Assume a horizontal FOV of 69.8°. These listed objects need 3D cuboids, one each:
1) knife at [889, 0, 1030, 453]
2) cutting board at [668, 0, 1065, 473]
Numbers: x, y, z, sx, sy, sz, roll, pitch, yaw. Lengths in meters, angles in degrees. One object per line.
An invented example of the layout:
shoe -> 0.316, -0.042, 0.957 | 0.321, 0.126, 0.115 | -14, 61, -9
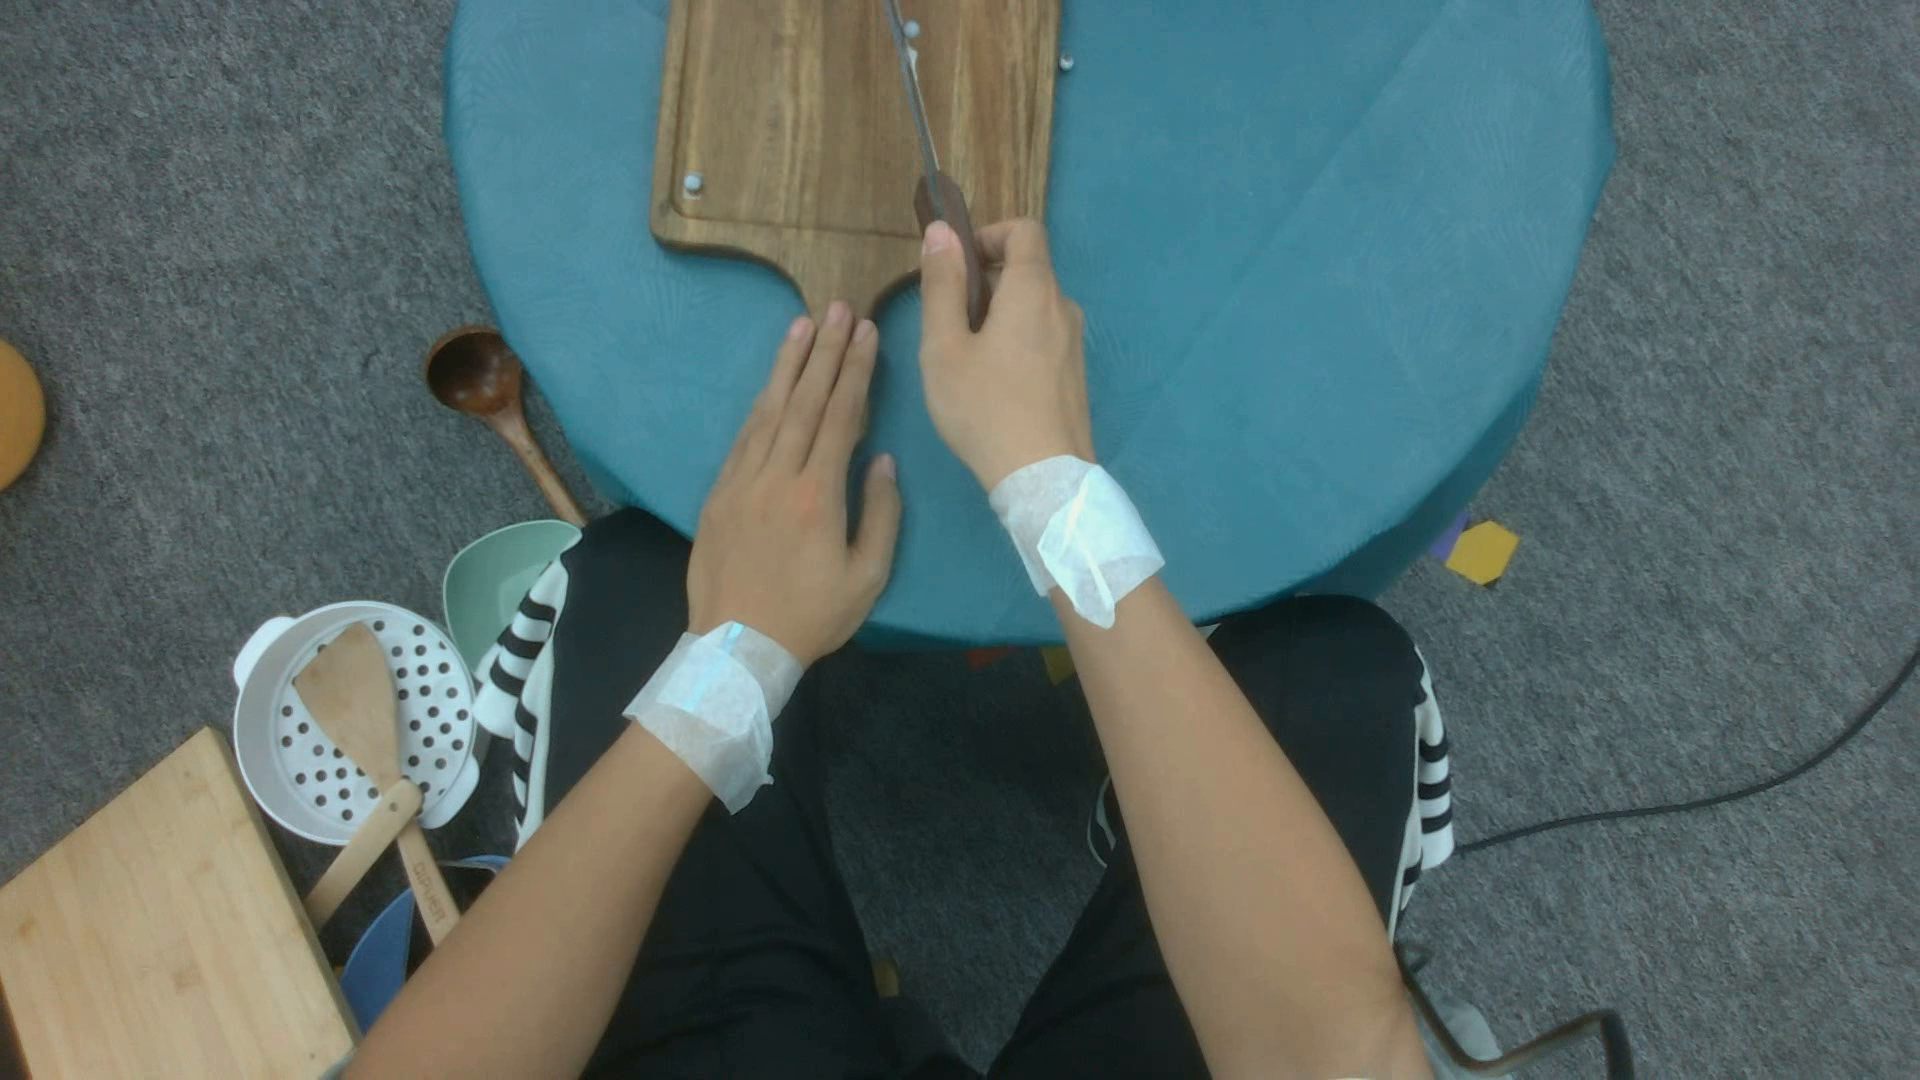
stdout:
knife -> -0.010, -0.180, 0.664 | 0.024, 0.068, 0.300 | -15, 80, 7
cutting board -> -0.048, -0.210, 0.720 | 0.201, 0.023, 0.352 | 4, 83, -1
